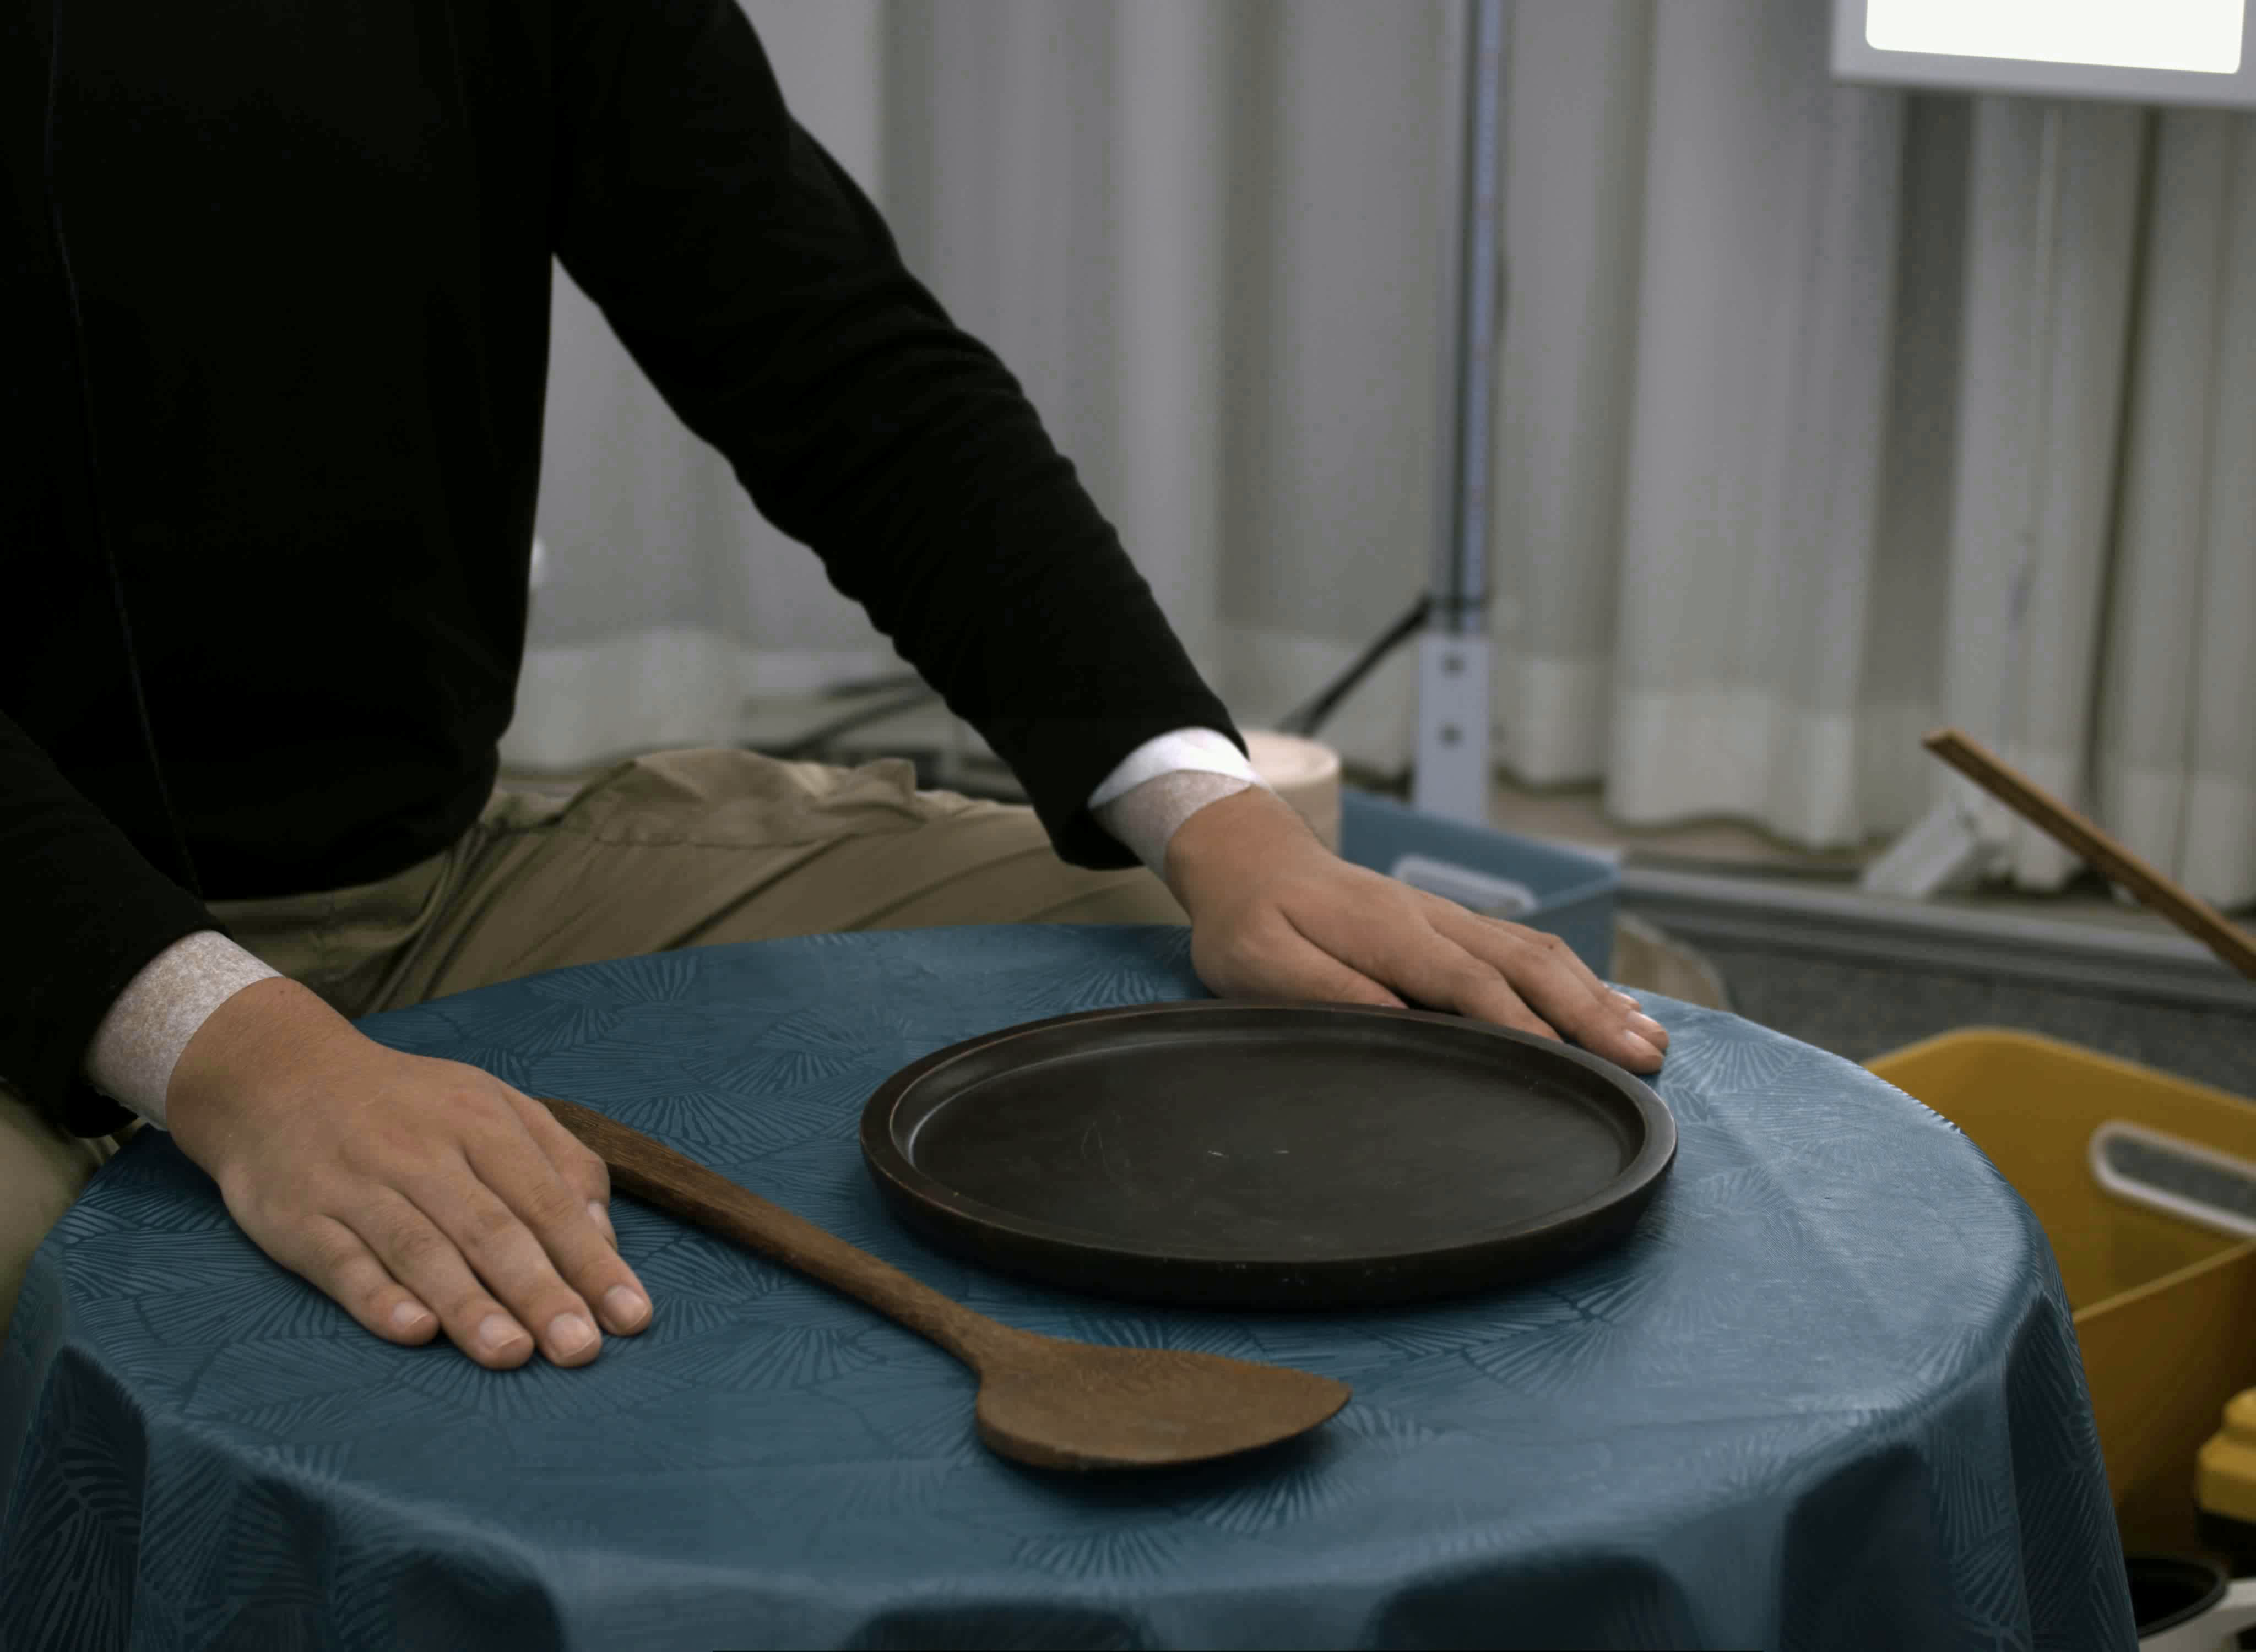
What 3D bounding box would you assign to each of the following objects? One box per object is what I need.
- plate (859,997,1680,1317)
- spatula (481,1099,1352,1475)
[{"bbox_3d":[0.043,0.100,1.623,0.254,0.029,0.253,0,17,1],"label":"plate"},{"bbox_3d":[-0.084,0.128,1.533,0.096,0.016,0.381,-10,19,-37],"label":"spatula"}]
